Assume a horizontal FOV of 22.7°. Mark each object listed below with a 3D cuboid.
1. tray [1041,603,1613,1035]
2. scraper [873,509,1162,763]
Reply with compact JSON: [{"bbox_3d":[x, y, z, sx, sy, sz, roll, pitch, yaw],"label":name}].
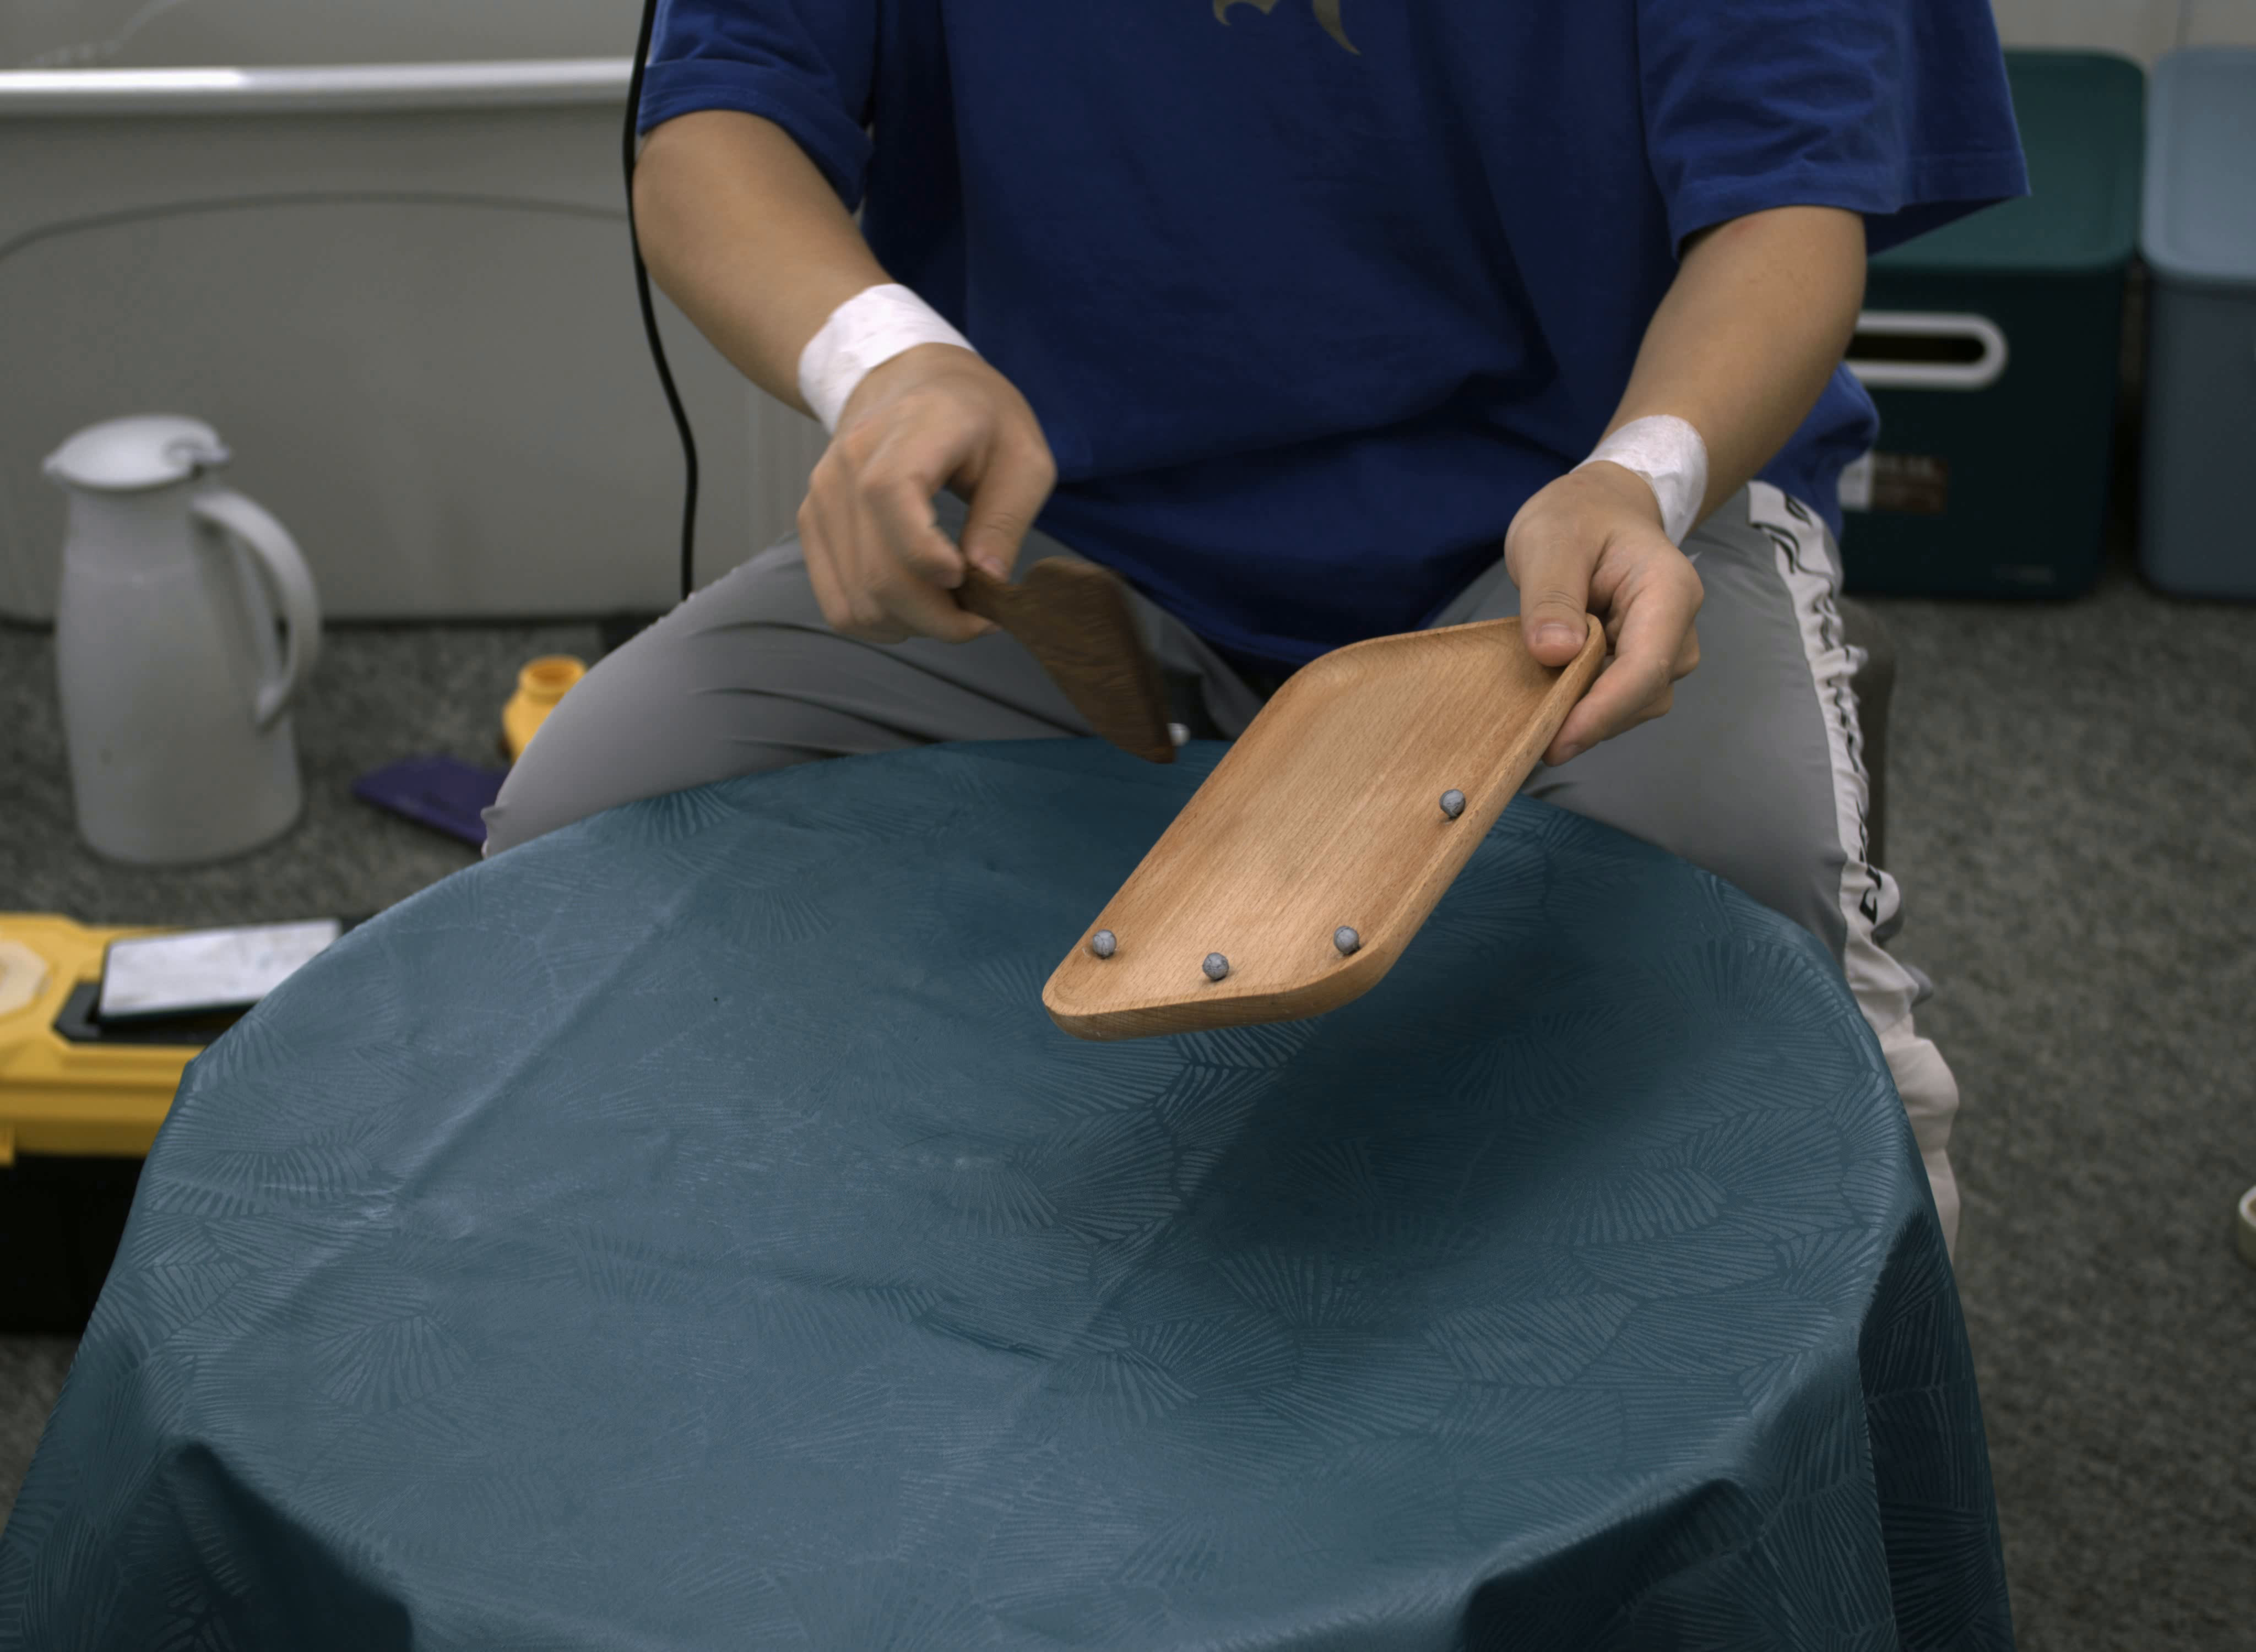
[{"bbox_3d":[0.070,-0.004,1.868,0.129,0.023,0.255,-5,26,31],"label":"tray"},{"bbox_3d":[-0.044,-0.076,1.932,0.011,0.075,0.212,-30,25,-14],"label":"scraper"}]
